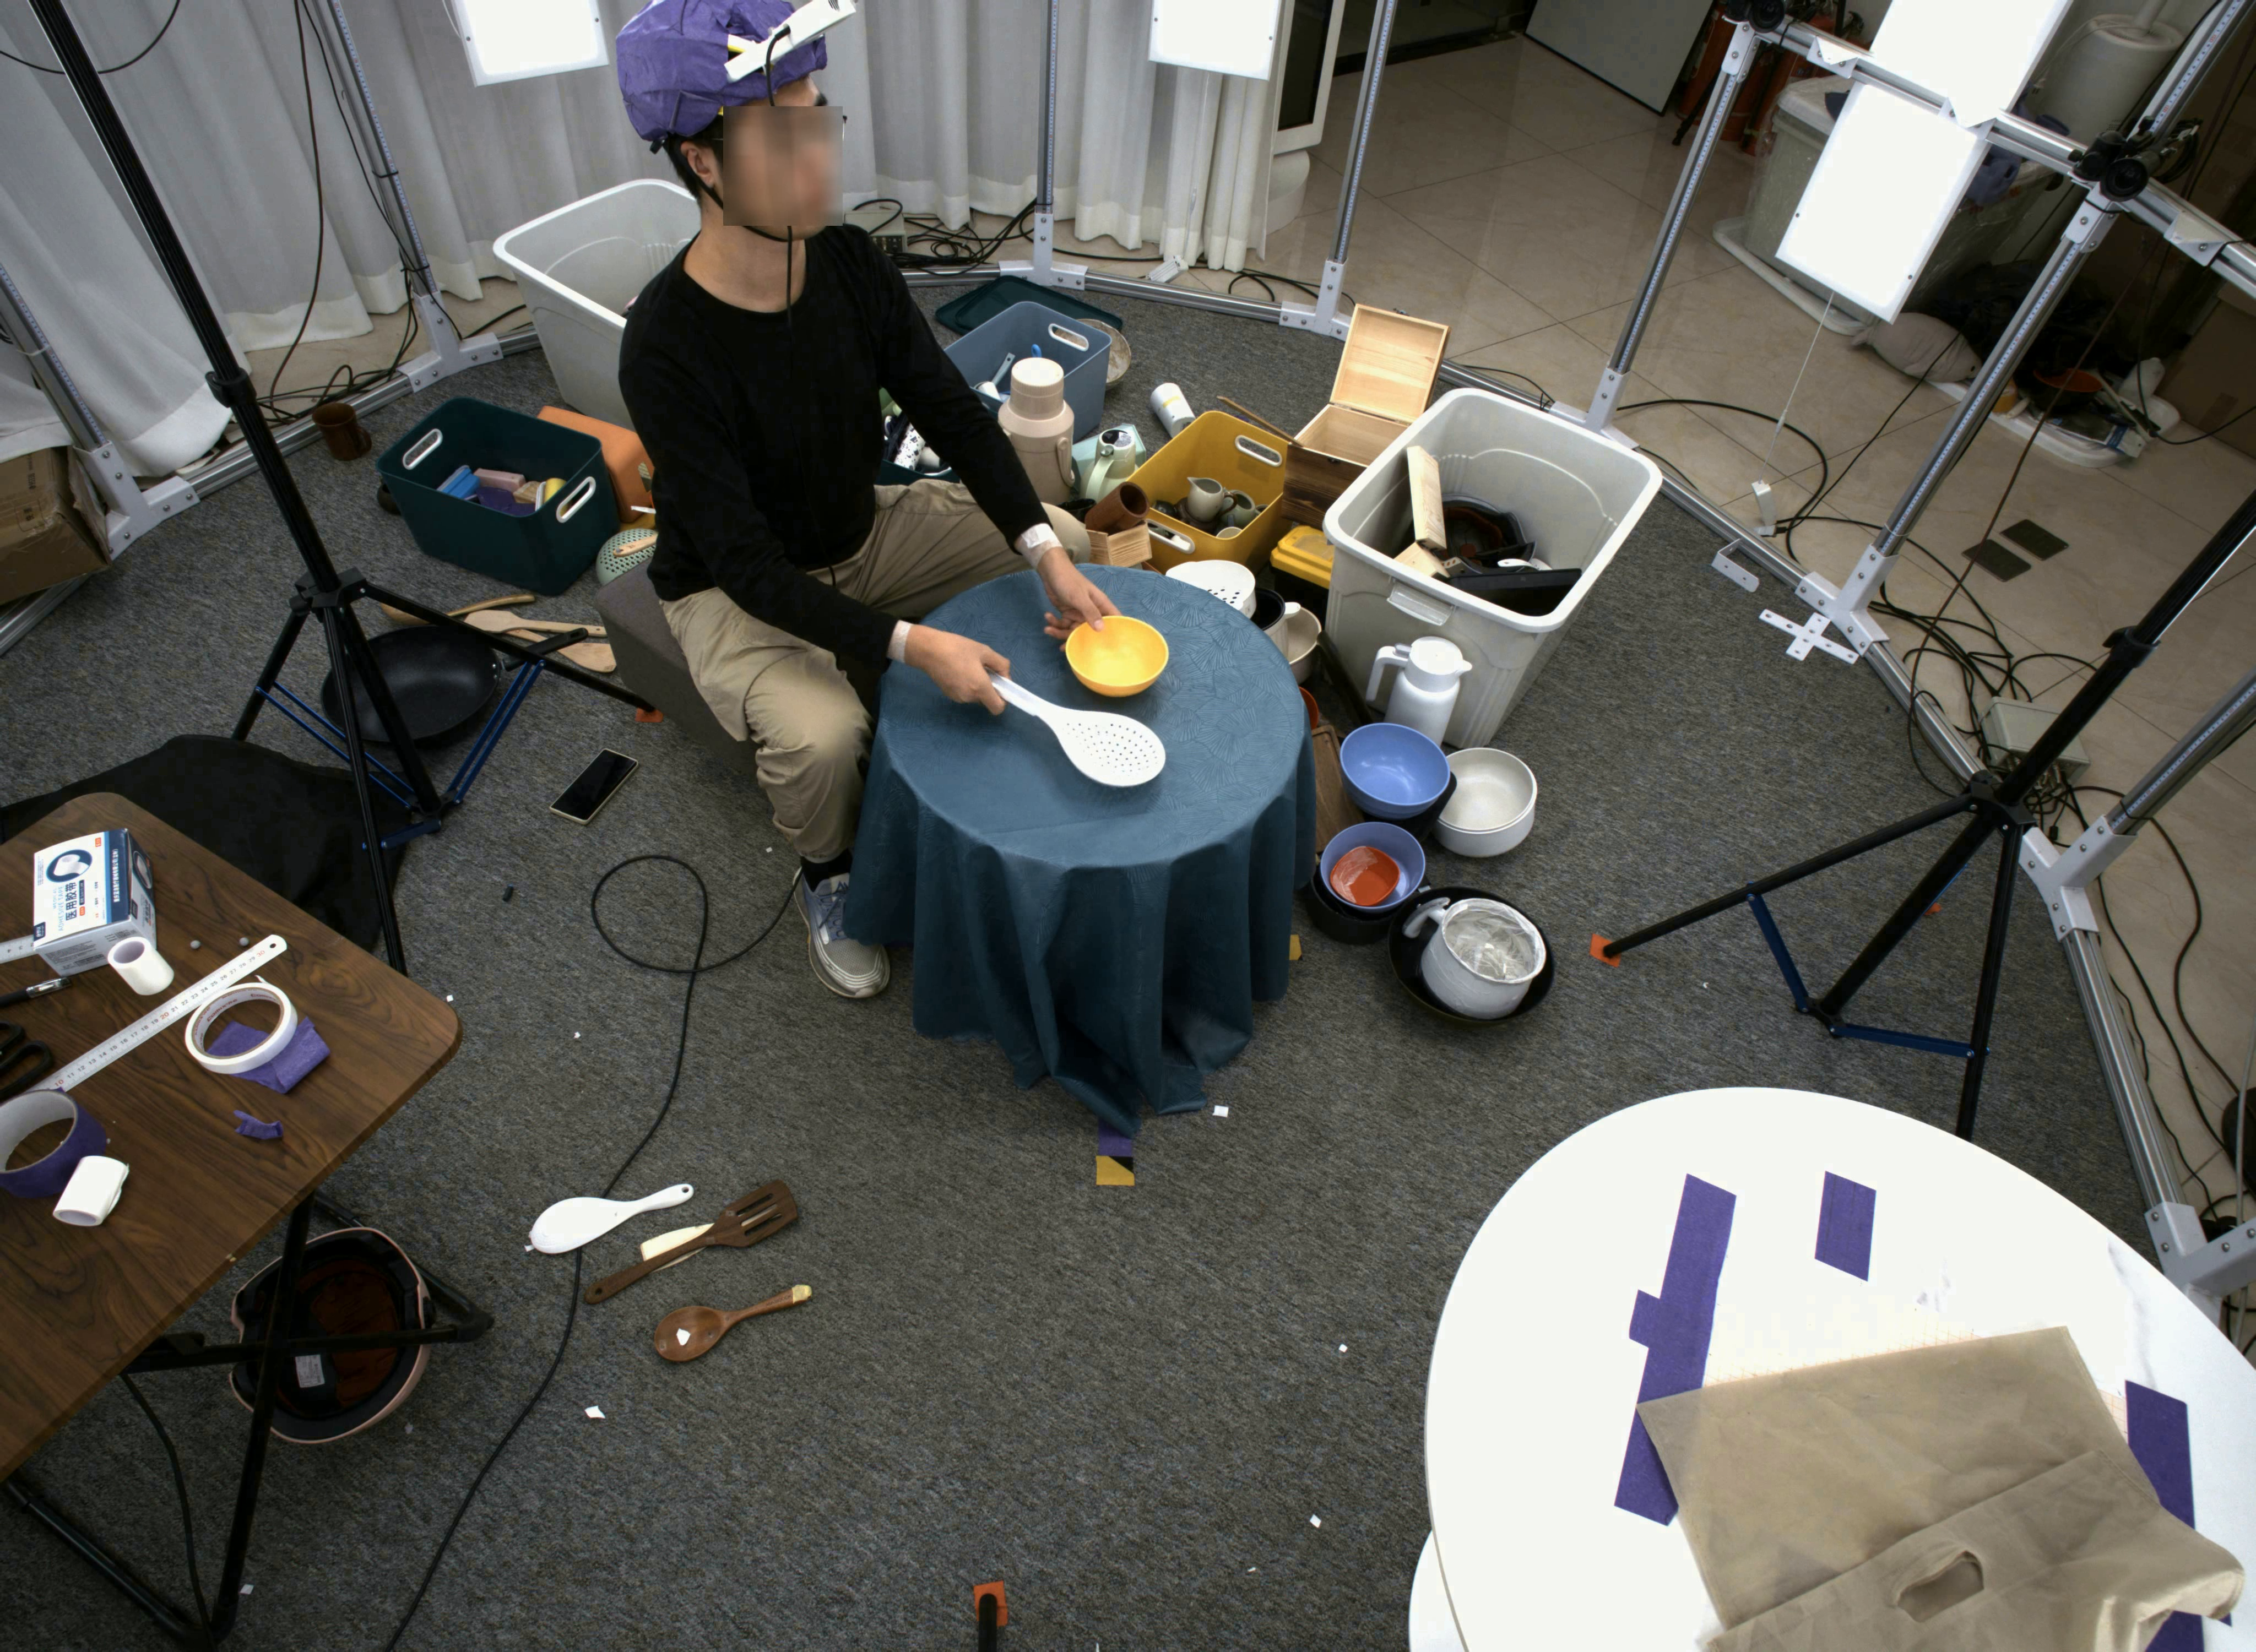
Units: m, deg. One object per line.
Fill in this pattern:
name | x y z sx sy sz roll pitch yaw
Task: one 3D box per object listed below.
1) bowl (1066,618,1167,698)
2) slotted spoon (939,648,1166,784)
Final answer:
bowl | -0.019 -0.228 1.830 0.145 0.058 0.149 3 48 -4
slotted spoon | -0.109 -0.152 1.738 0.352 0.045 0.138 33 43 11
